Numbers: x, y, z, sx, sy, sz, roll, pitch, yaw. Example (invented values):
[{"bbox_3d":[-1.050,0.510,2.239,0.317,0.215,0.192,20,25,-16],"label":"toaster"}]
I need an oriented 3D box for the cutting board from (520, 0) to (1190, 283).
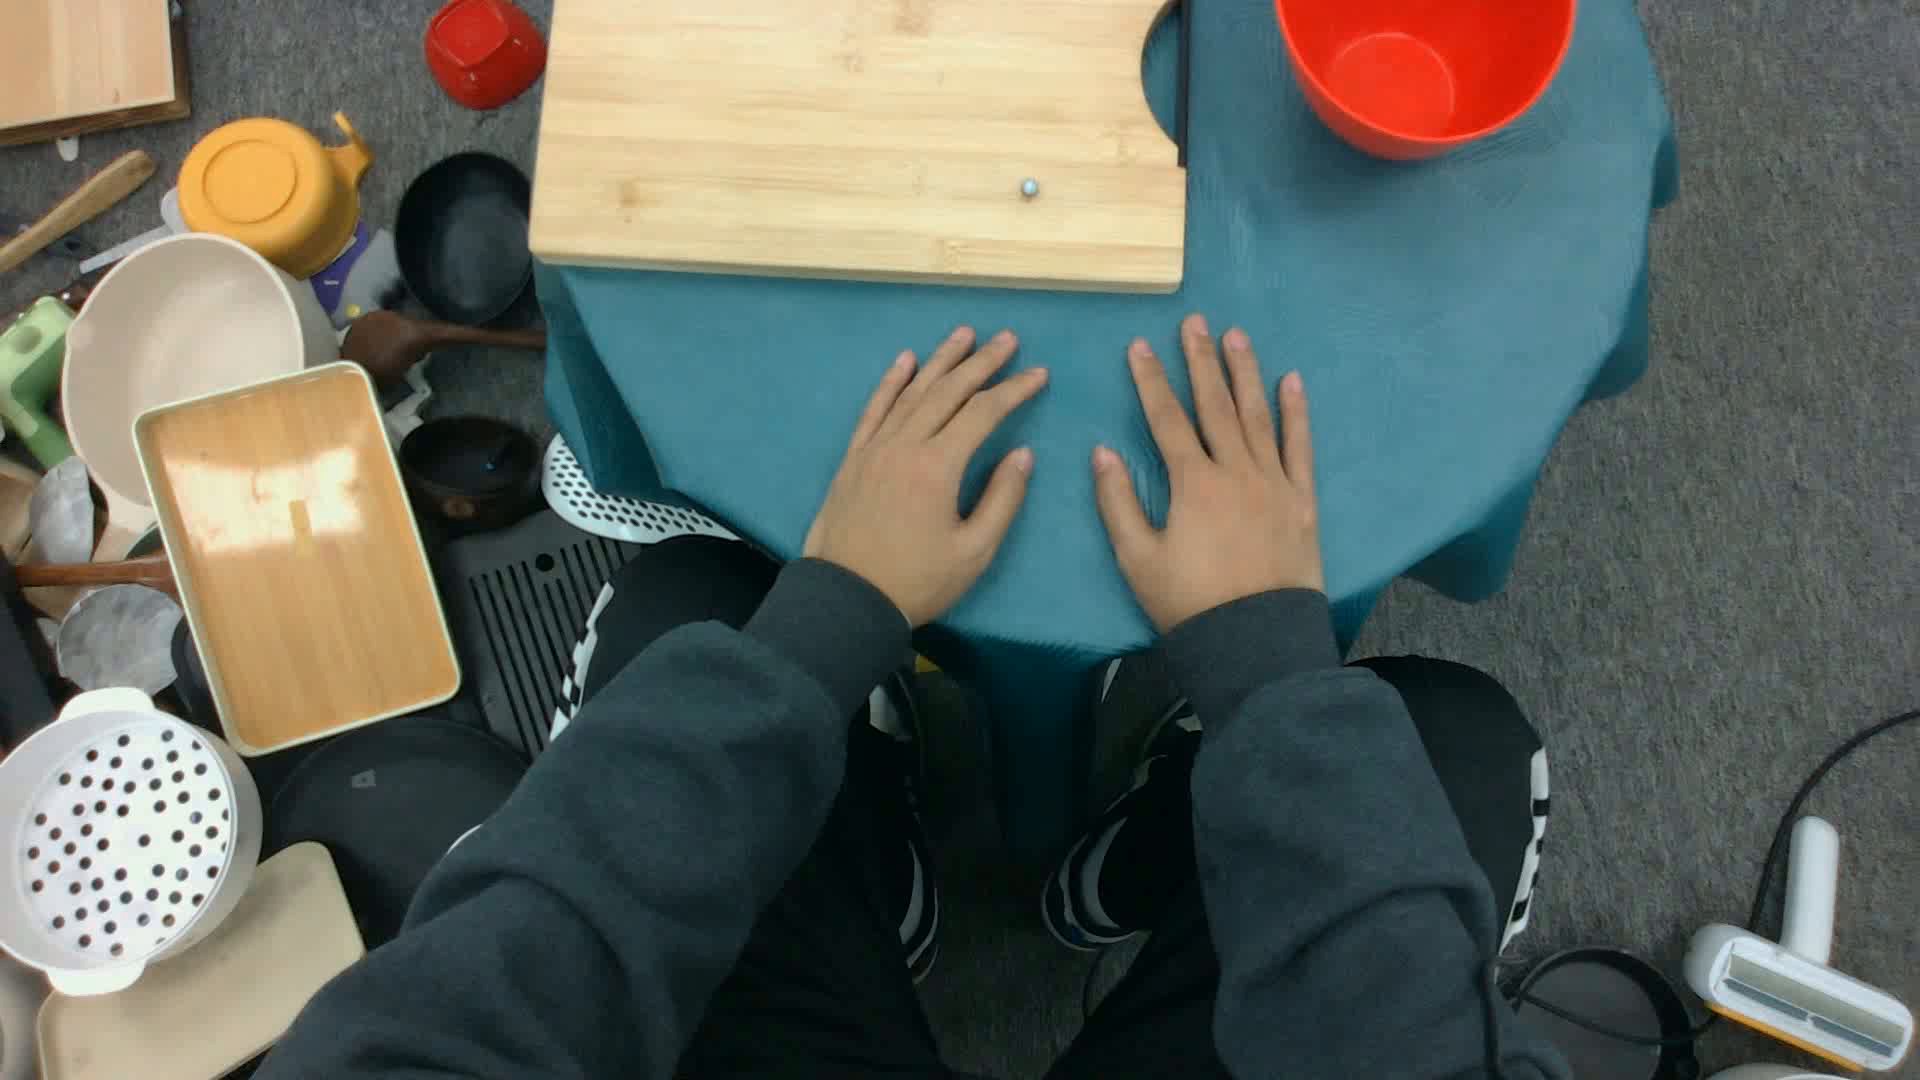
[{"bbox_3d":[-0.050,-0.266,0.739,0.348,0.023,0.251,2,81,1],"label":"cutting board"}]

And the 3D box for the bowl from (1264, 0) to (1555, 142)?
[{"bbox_3d":[0.214,-0.266,0.695,0.148,0.104,0.148,0,79,-1],"label":"bowl"}]
